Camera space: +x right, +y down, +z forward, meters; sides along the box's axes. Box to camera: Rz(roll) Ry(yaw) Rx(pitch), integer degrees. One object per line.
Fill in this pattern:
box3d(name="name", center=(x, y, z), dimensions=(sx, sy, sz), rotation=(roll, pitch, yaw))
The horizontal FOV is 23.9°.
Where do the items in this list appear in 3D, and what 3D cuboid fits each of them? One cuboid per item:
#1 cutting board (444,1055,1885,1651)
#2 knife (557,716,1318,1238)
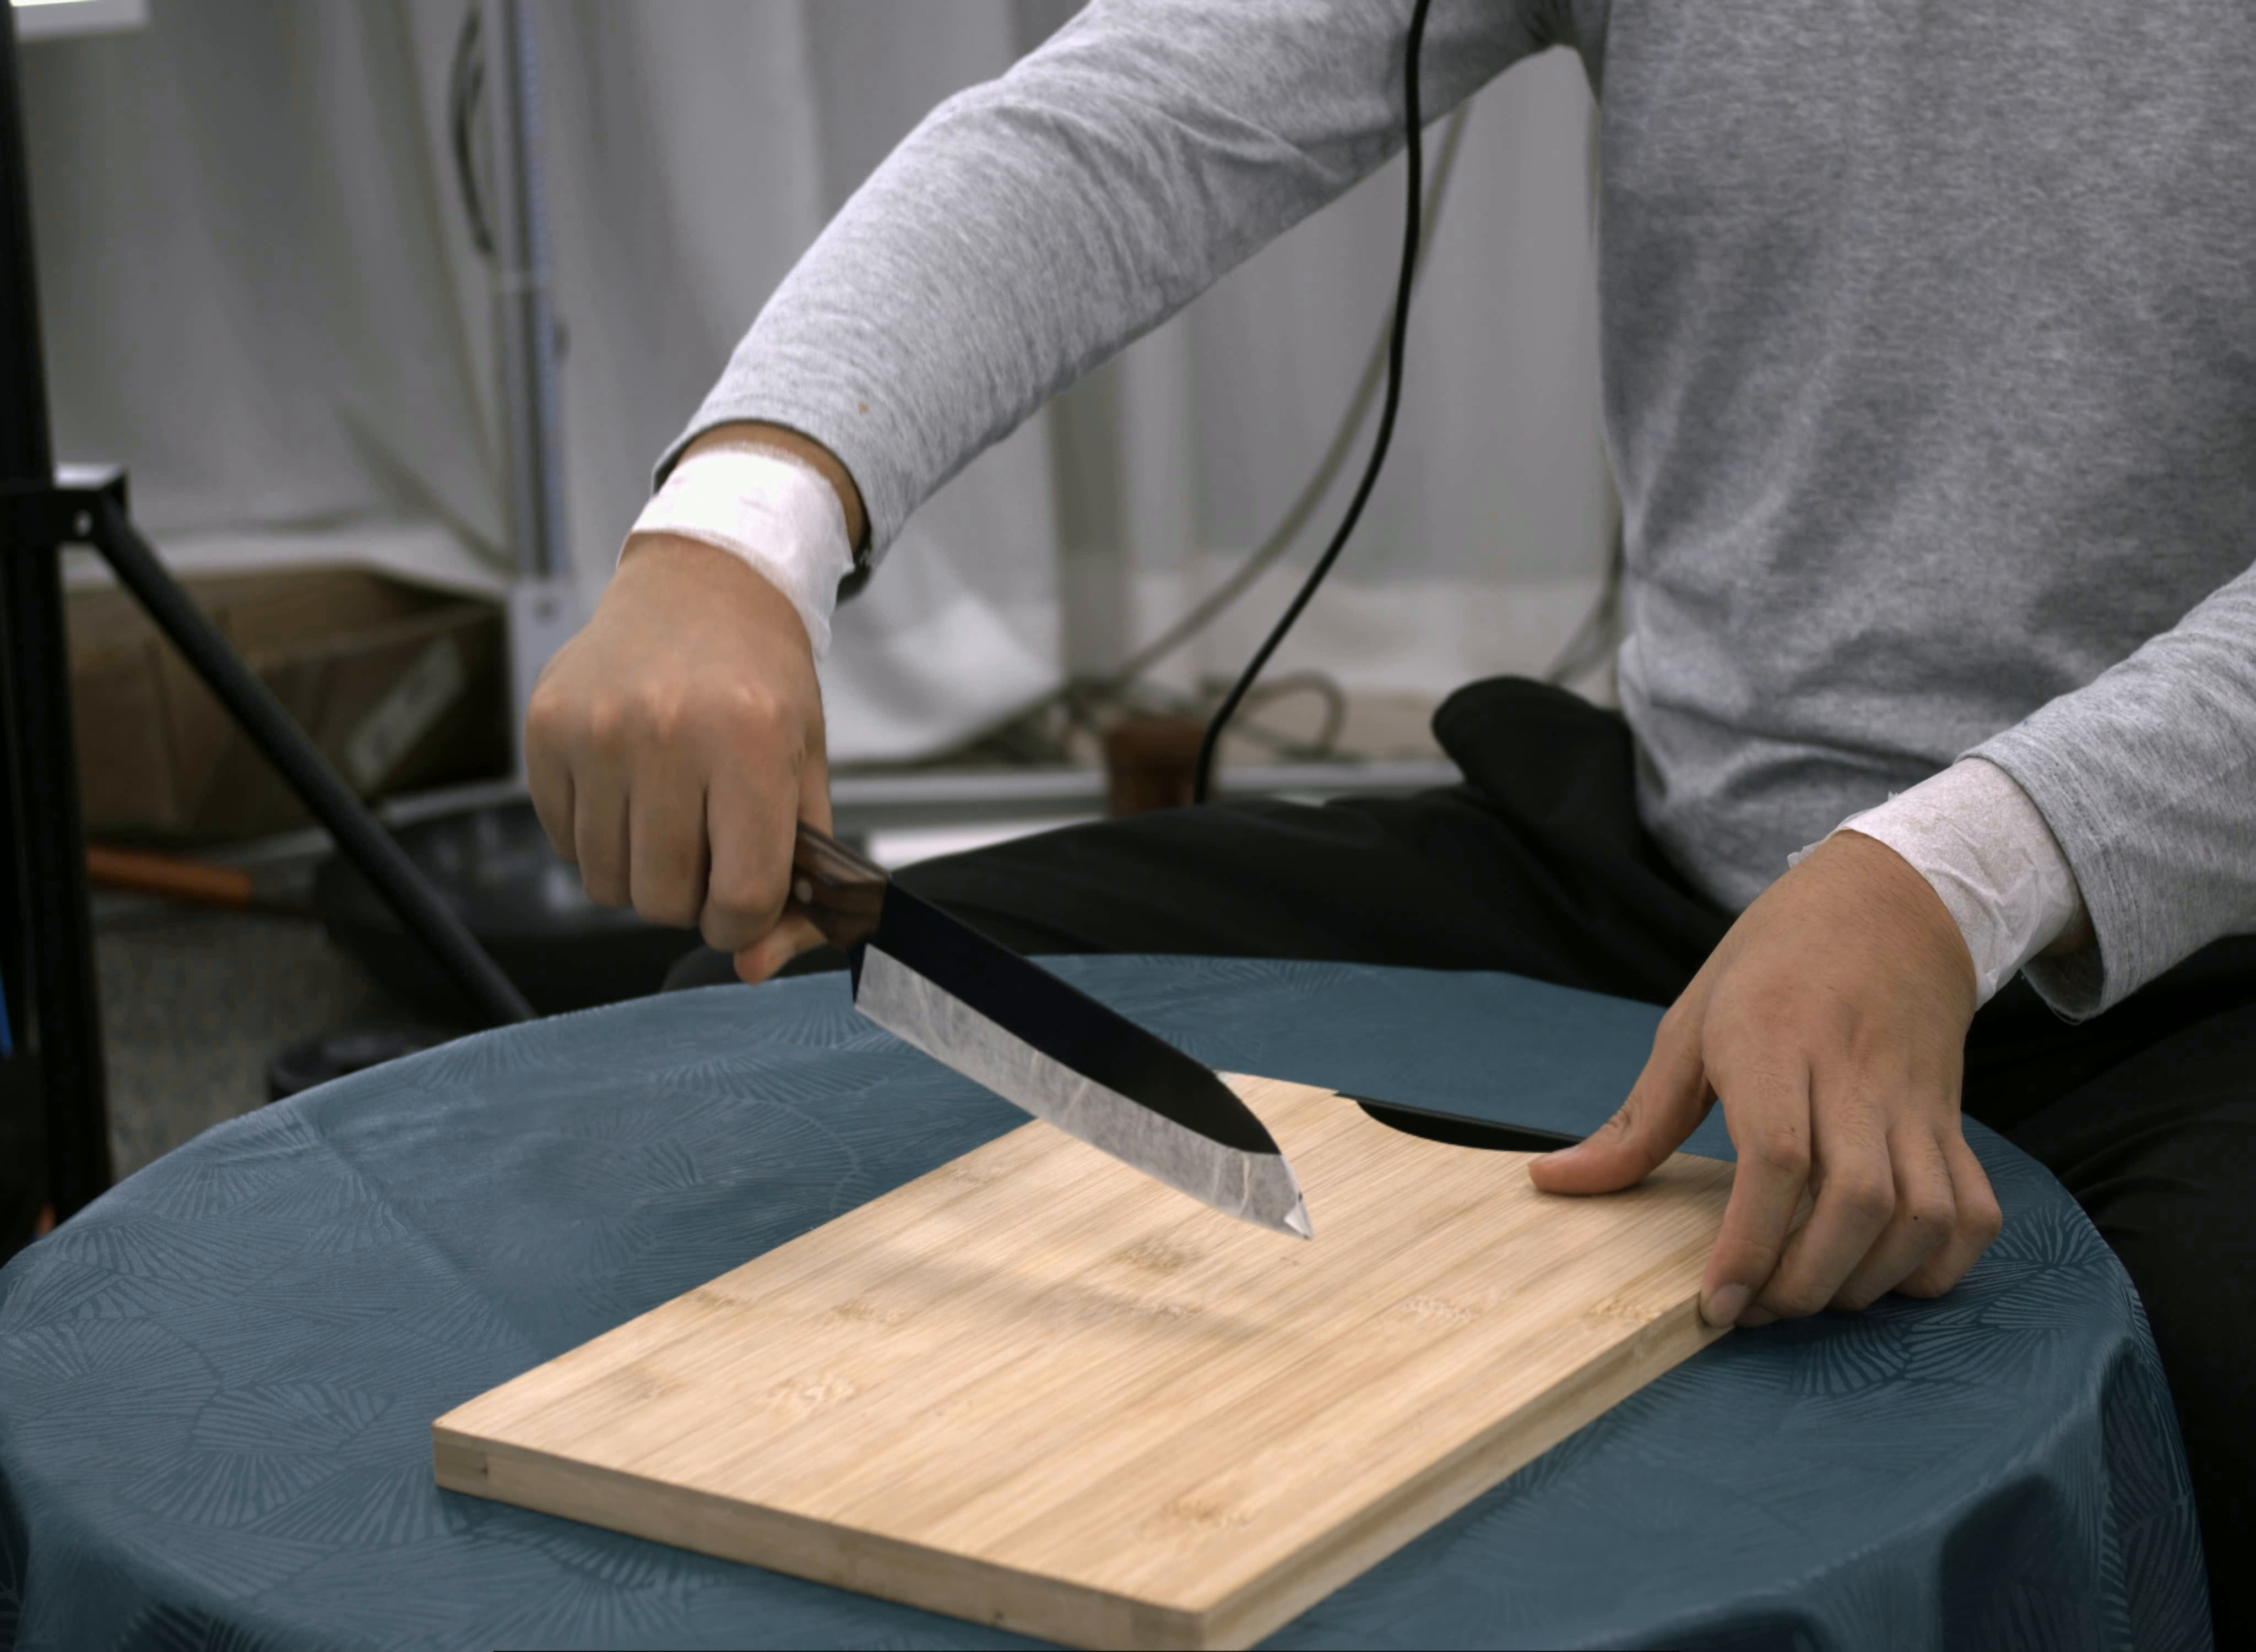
box3d(name="cutting board", center=(0.017, 0.136, 1.433), dimensions=(0.256, 0.023, 0.342), rotation=(9, 19, 34))
box3d(name="knife", center=(-0.055, 0.040, 1.477), dimensions=(0.295, 0.050, 0.019), rotation=(32, 35, 32))
